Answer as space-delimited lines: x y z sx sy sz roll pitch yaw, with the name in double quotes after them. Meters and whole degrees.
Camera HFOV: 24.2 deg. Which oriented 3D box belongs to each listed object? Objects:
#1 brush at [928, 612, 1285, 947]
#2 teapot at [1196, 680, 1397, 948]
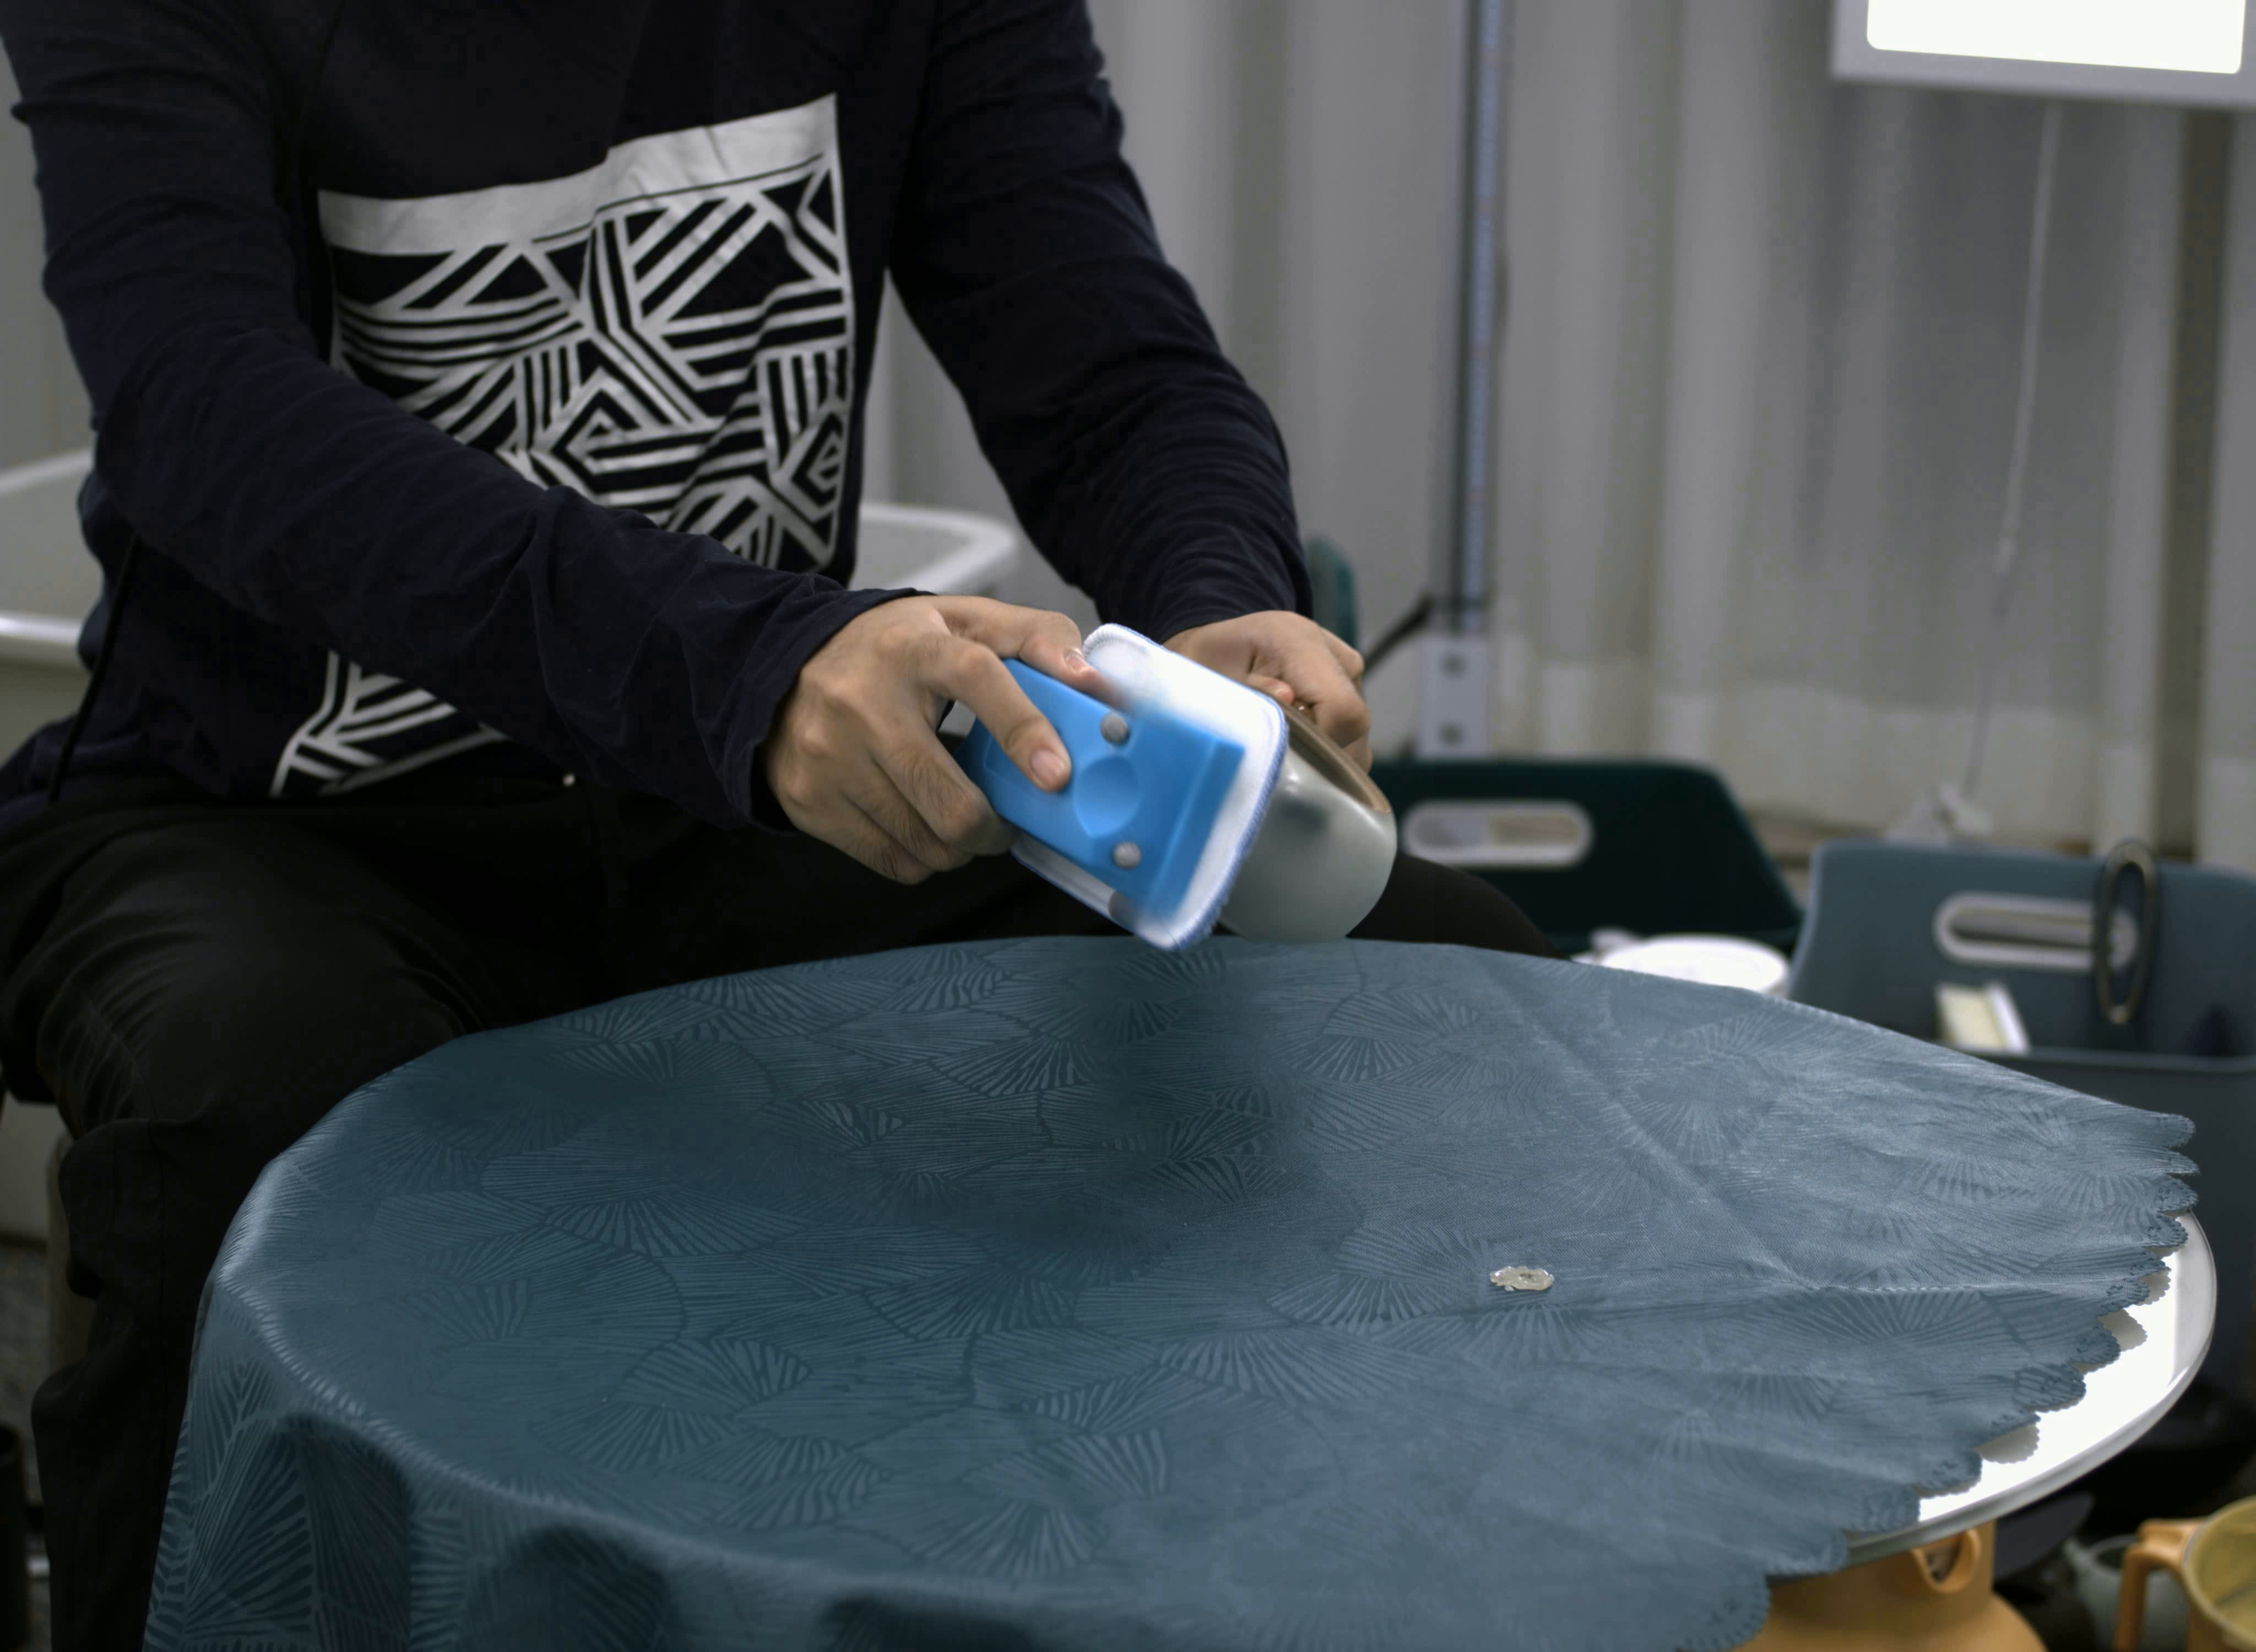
-0.014 -0.020 1.574 0.056 0.084 0.142 27 2 -35 "brush"
0.039 -0.006 1.635 0.092 0.059 0.127 36 14 -15 "teapot"
